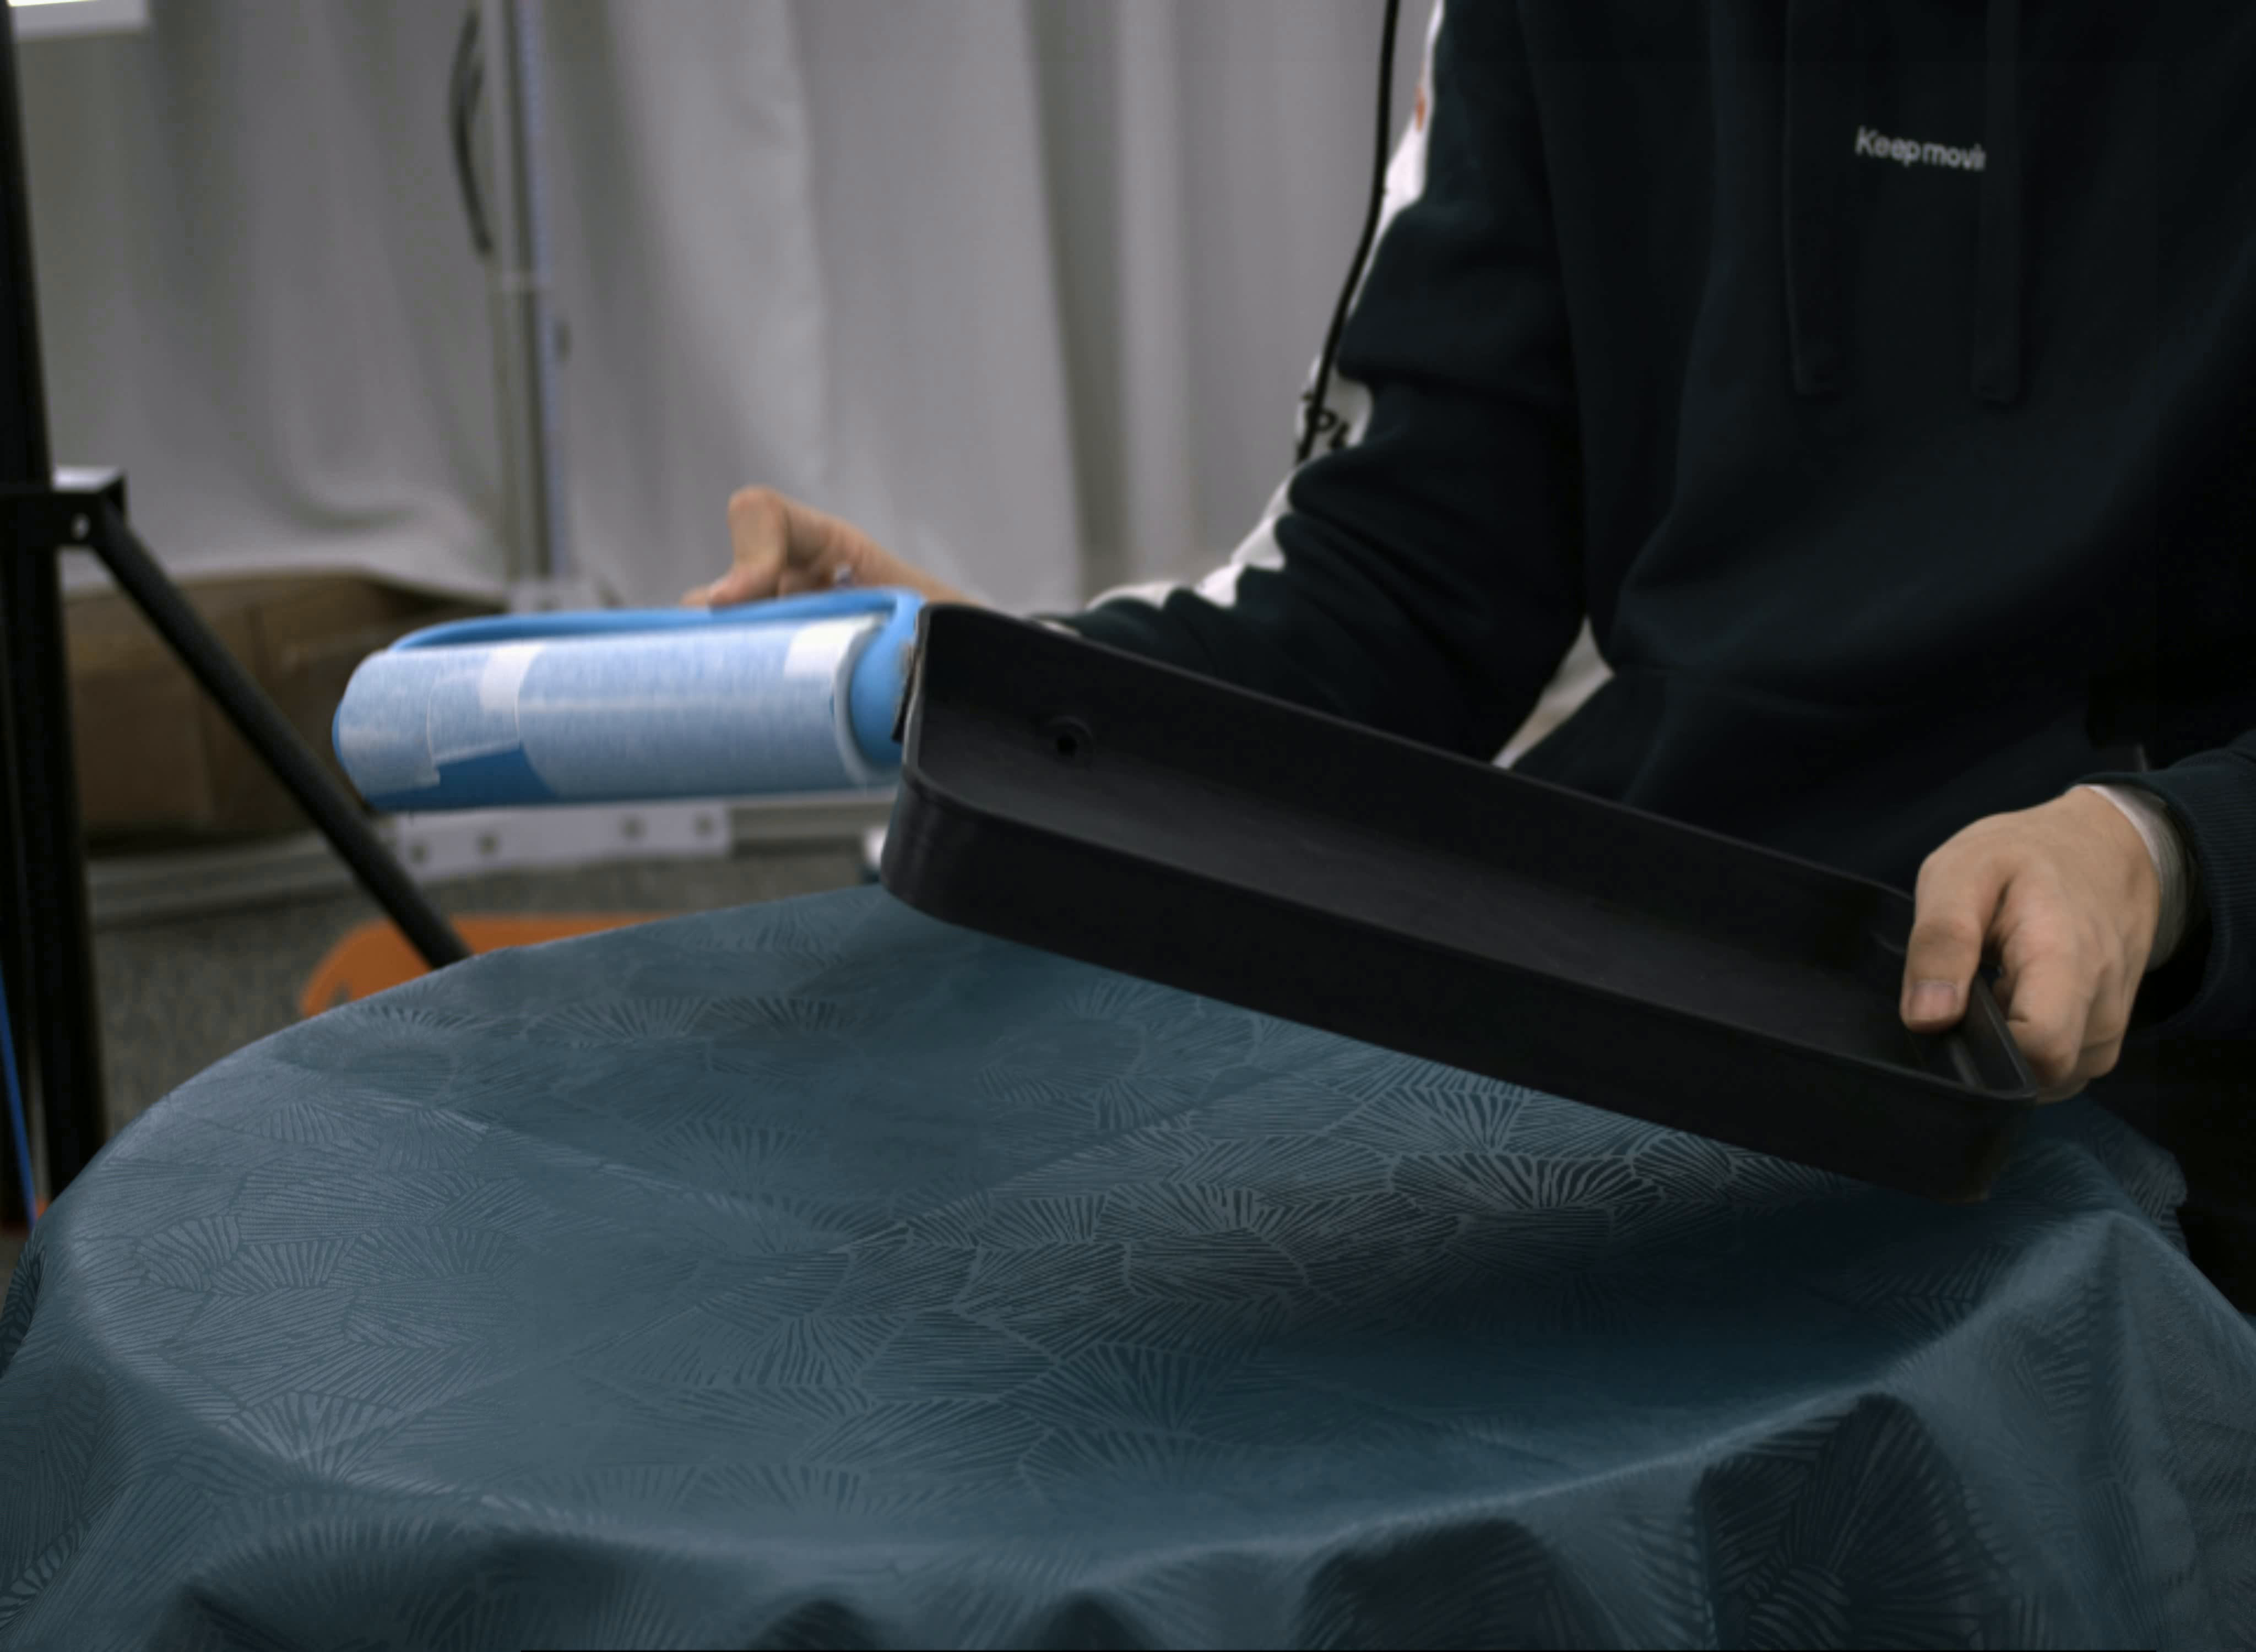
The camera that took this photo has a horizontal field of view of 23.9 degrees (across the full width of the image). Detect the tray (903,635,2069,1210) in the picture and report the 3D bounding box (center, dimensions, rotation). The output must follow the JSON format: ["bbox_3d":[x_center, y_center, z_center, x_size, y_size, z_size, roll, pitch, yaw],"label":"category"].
[{"bbox_3d":[0.092,0.025,1.464,0.315,0.037,0.185,14,16,-5],"label":"tray"}]

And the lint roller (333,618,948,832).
[{"bbox_3d":[-0.130,-0.033,1.743,0.233,0.068,0.176,-3,4,30],"label":"lint roller"}]
